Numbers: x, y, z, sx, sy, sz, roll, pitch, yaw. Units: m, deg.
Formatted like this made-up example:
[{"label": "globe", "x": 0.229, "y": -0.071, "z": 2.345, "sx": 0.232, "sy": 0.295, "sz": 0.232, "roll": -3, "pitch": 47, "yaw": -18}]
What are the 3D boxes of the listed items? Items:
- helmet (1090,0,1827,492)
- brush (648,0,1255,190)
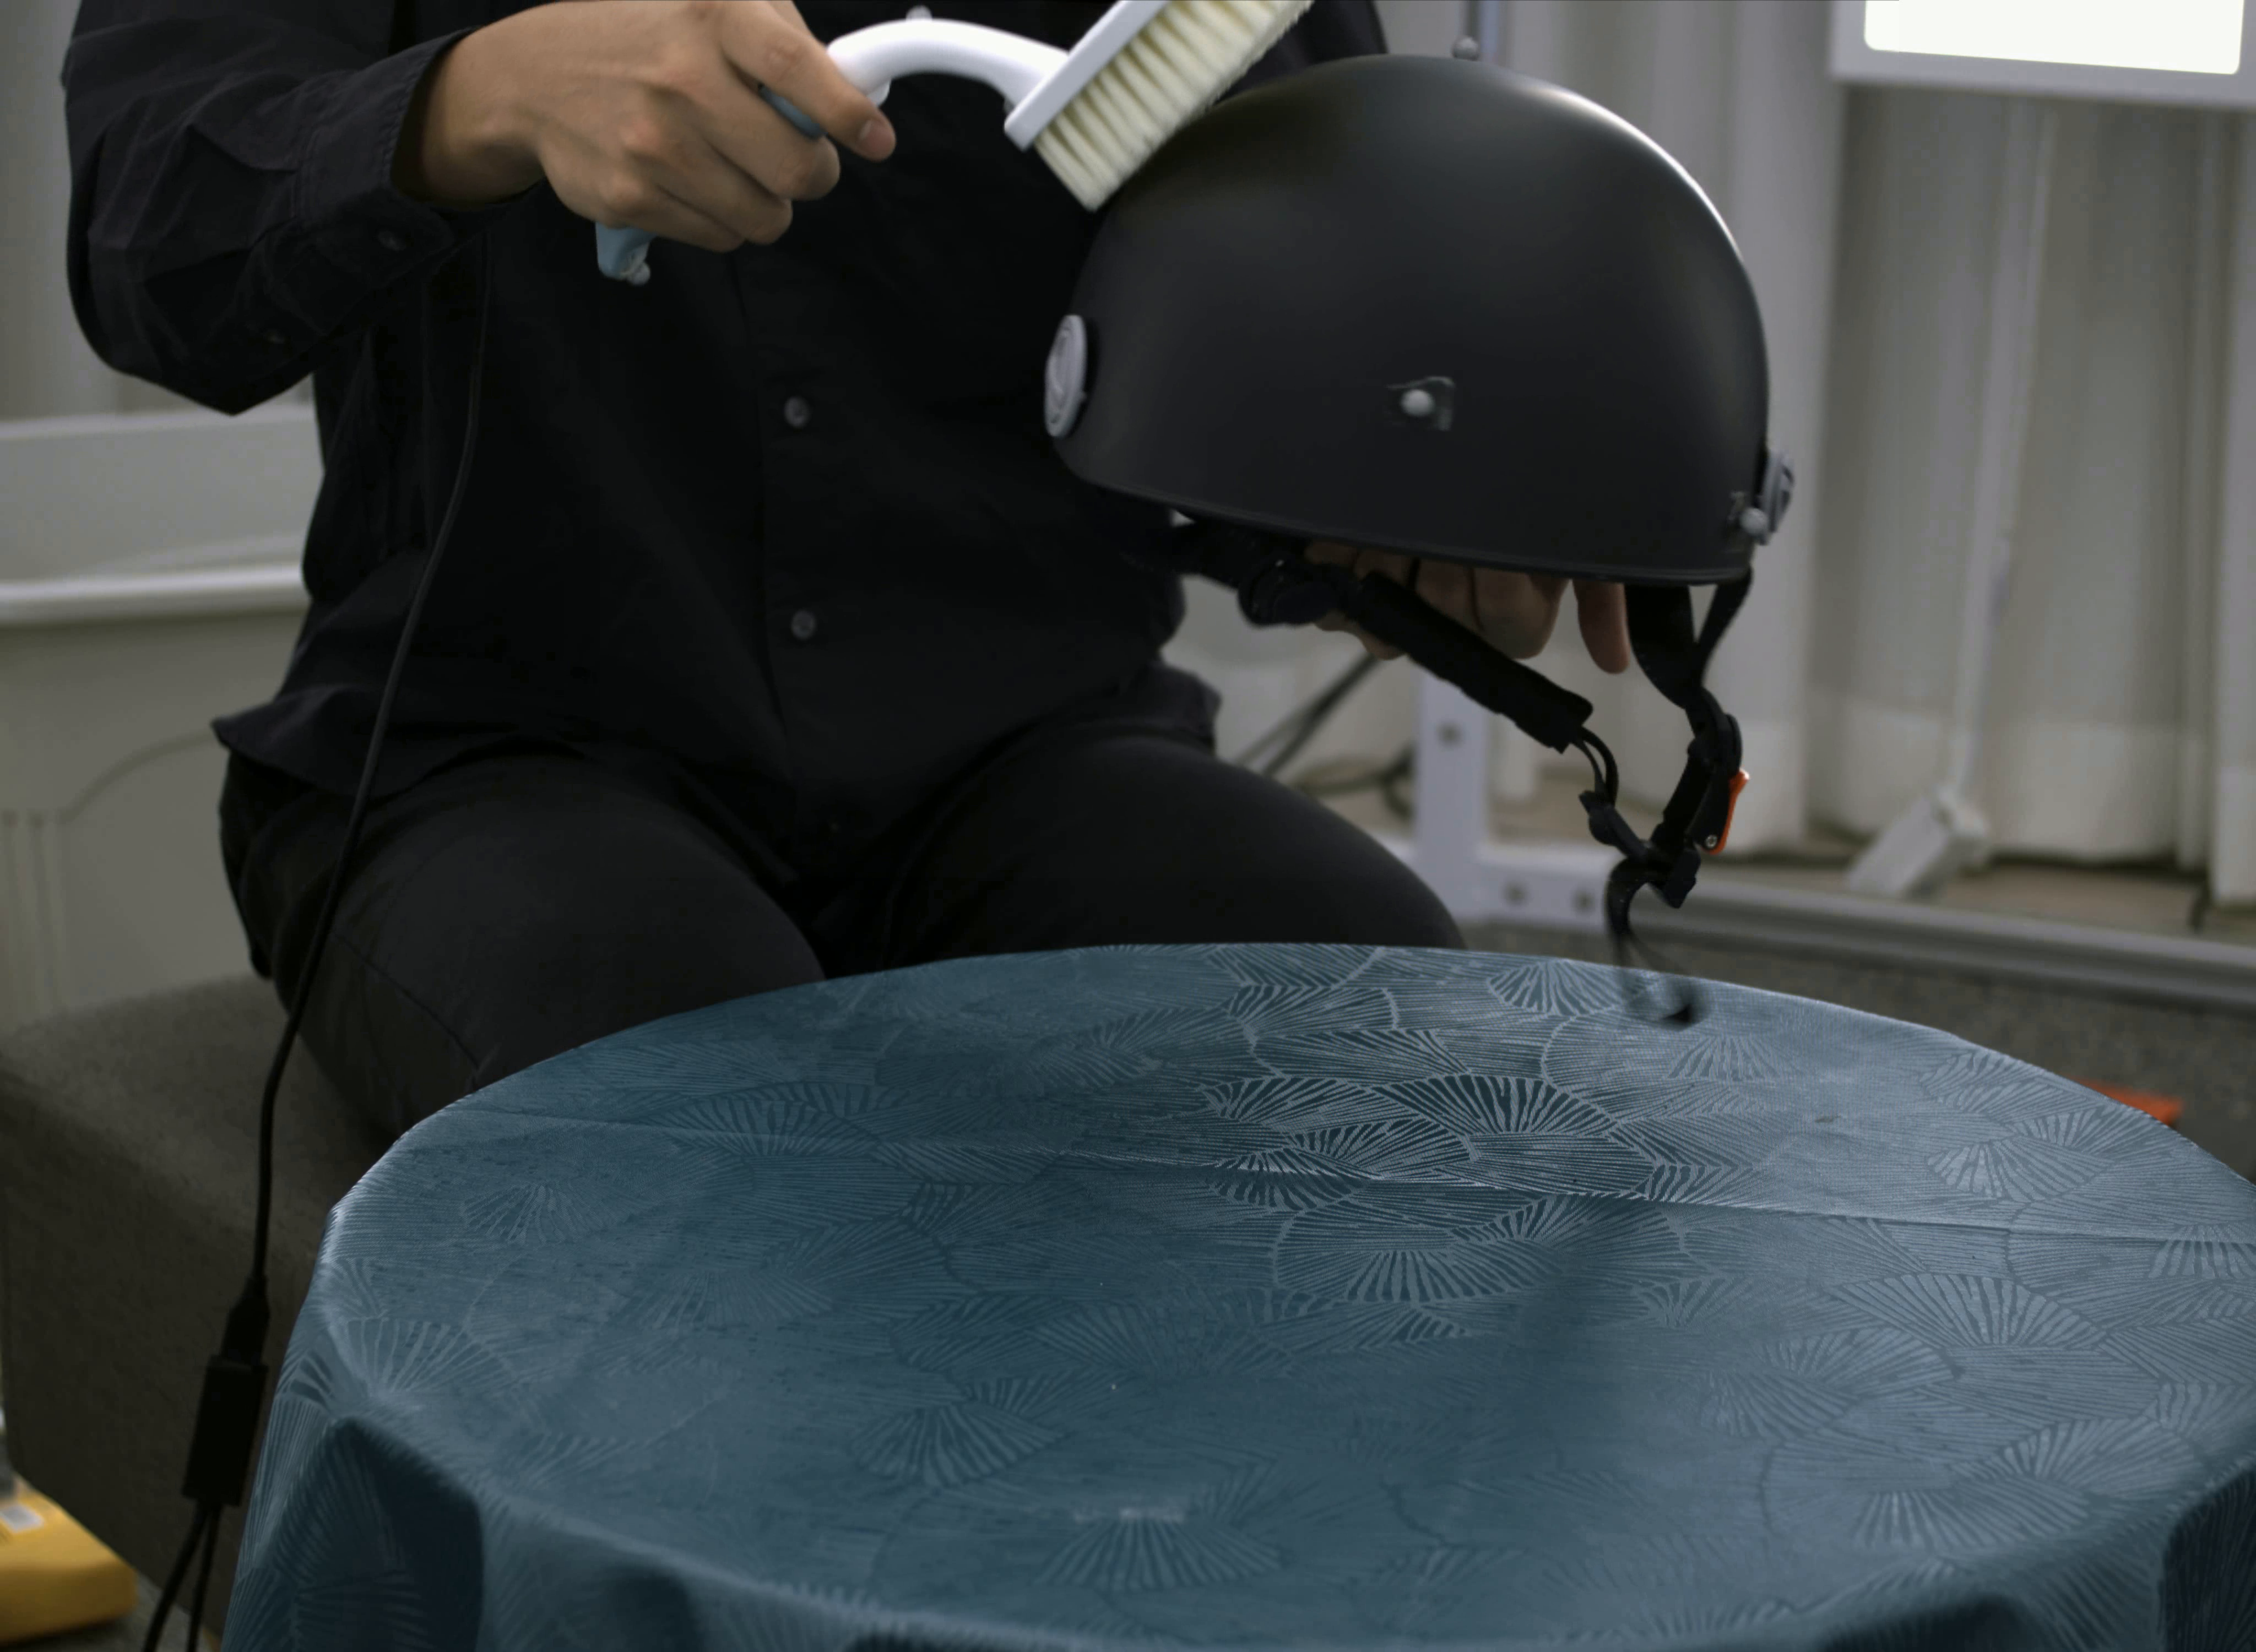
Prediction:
[{"label": "helmet", "x": 0.107, "y": -0.190, "z": 1.657, "sx": 0.229, "sy": 0.167, "sz": 0.273, "roll": 7, "pitch": 3, "yaw": -1}, {"label": "brush", "x": -0.031, "y": -0.248, "z": 1.684, "sx": 0.084, "sy": 0.084, "sz": 0.323, "roll": 7, "pitch": -22, "yaw": -43}]
